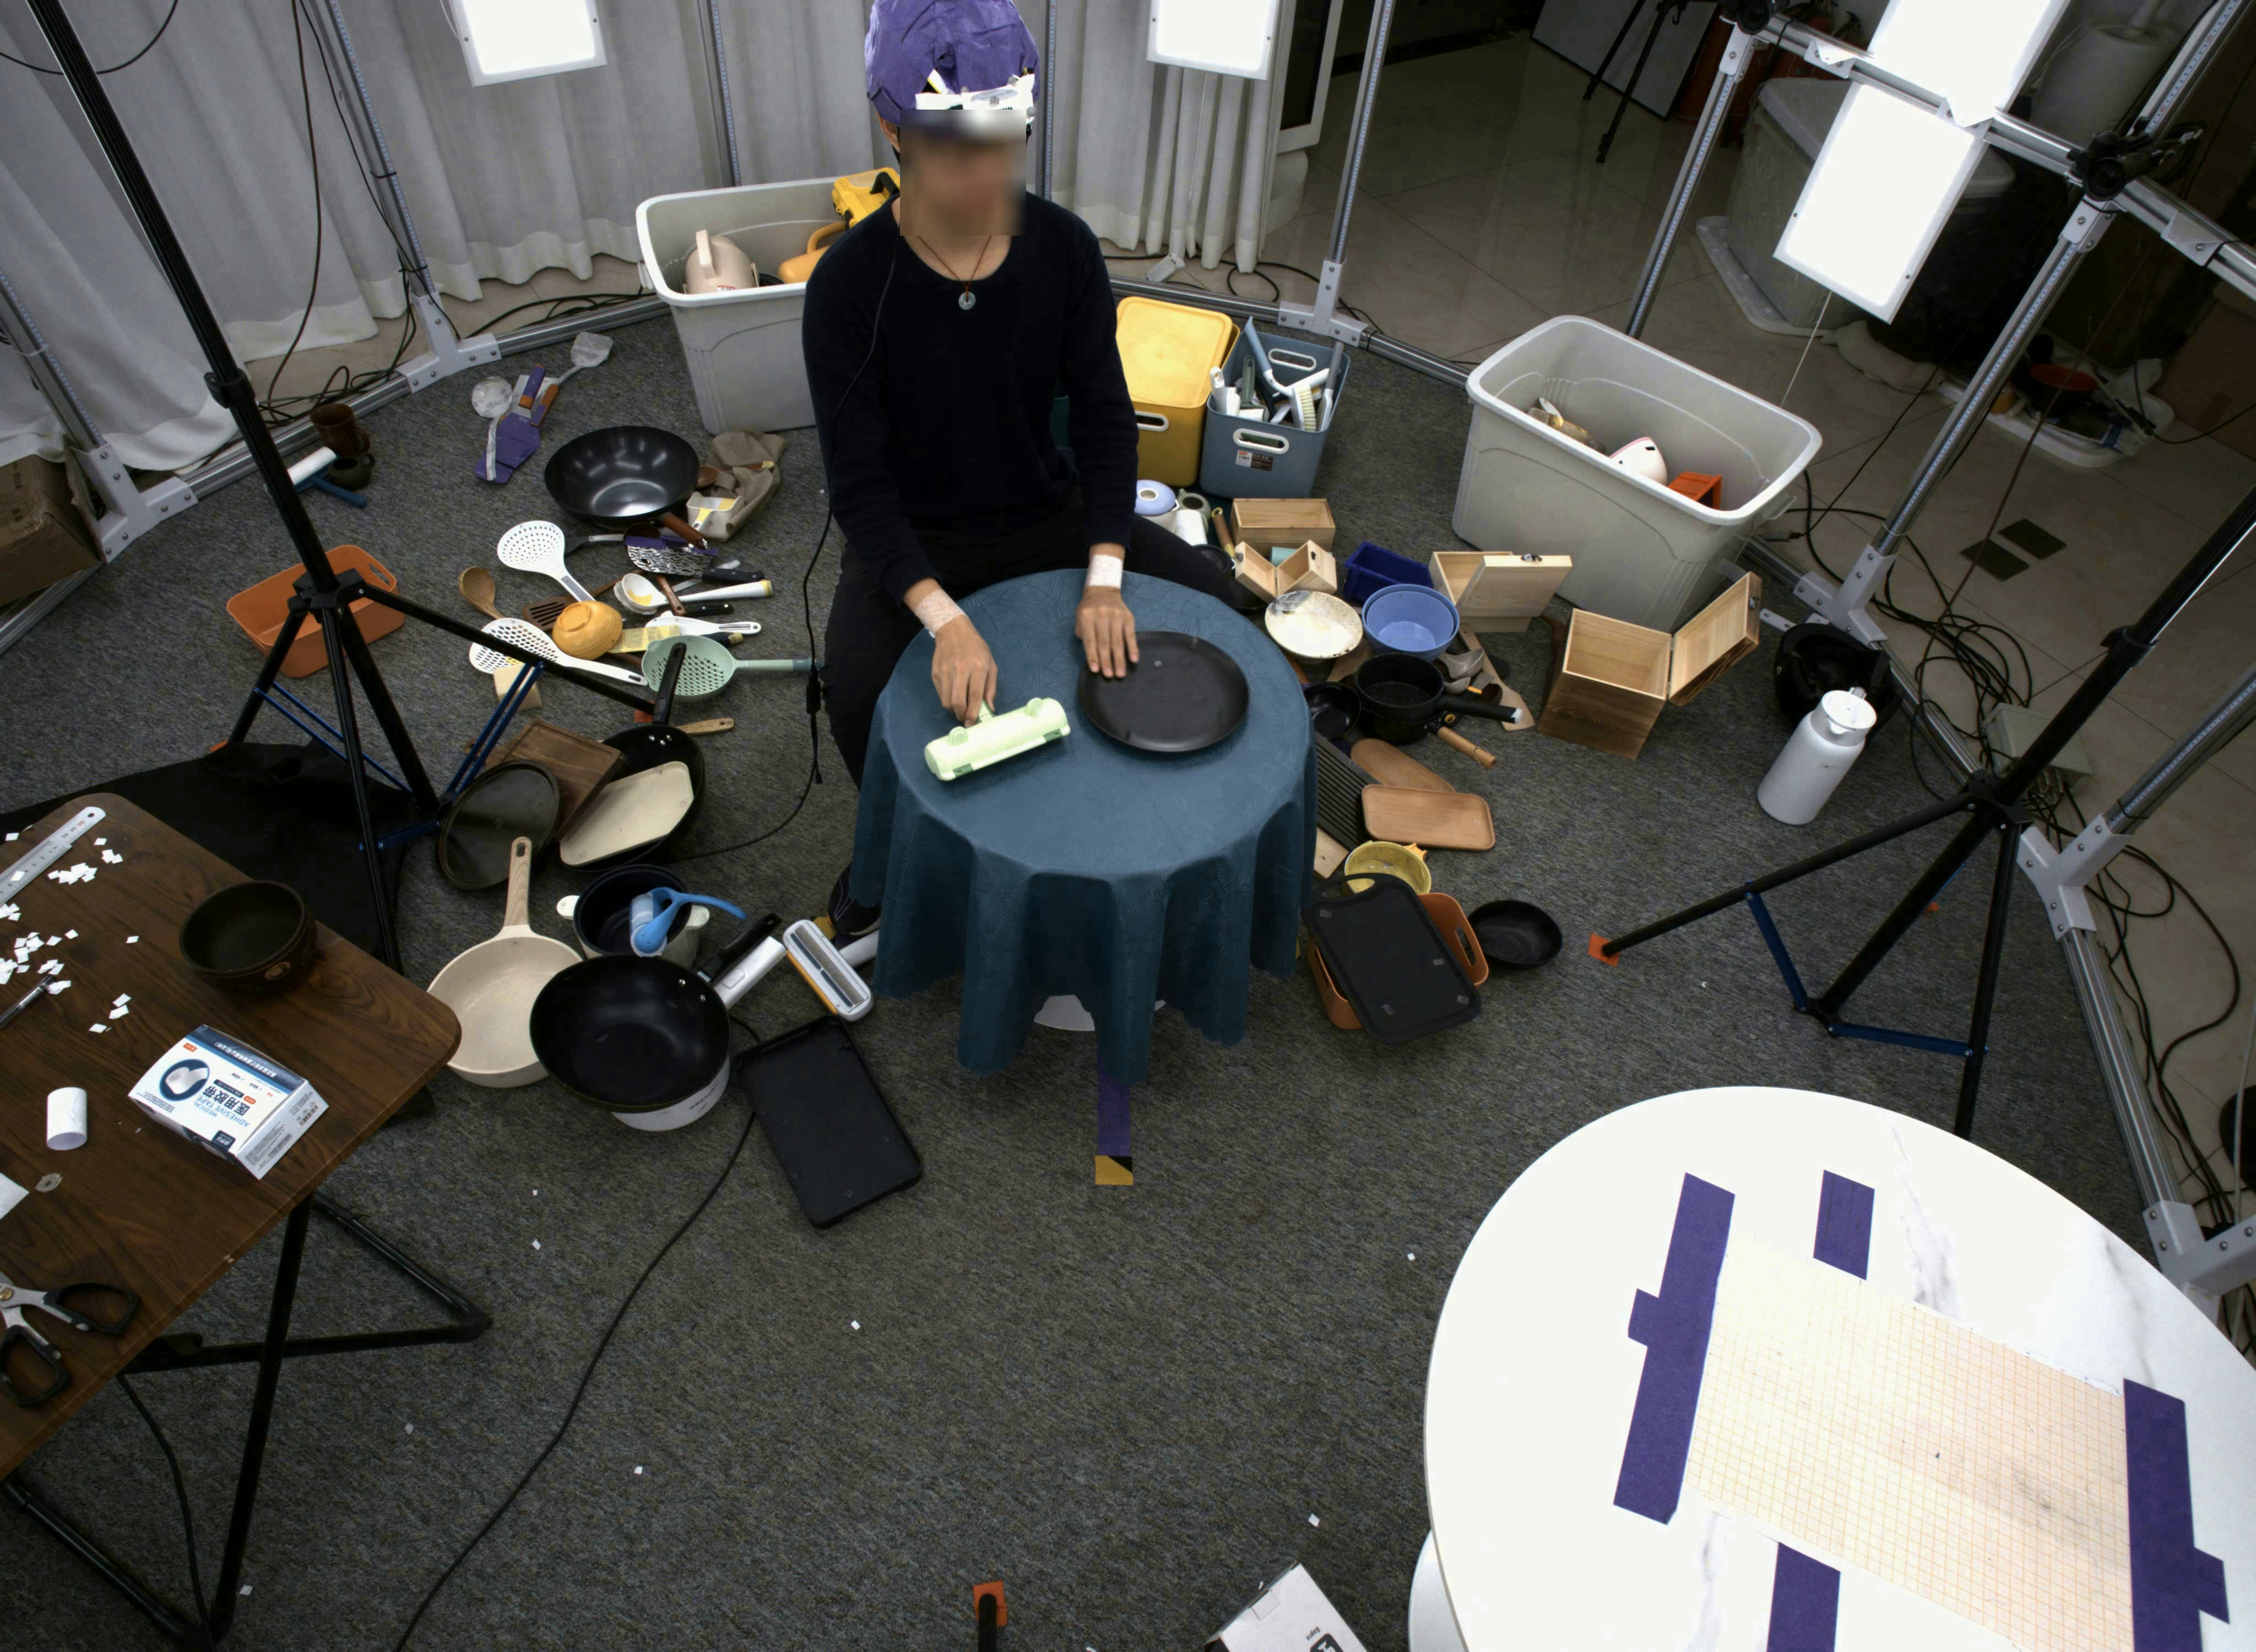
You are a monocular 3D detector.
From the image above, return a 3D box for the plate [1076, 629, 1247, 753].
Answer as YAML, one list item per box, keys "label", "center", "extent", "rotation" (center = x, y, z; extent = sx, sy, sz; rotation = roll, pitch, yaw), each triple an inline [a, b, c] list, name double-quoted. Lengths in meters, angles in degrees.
- label: "plate"
  center: [0.047, -0.189, 1.818]
  extent: [0.244, 0.023, 0.250]
  rotation: [2, 50, -3]

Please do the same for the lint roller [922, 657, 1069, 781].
- label: "lint roller"
  center: [-0.203, -0.168, 1.734]
  extent: [0.199, 0.081, 0.186]
  rotation: [-24, 72, -23]
